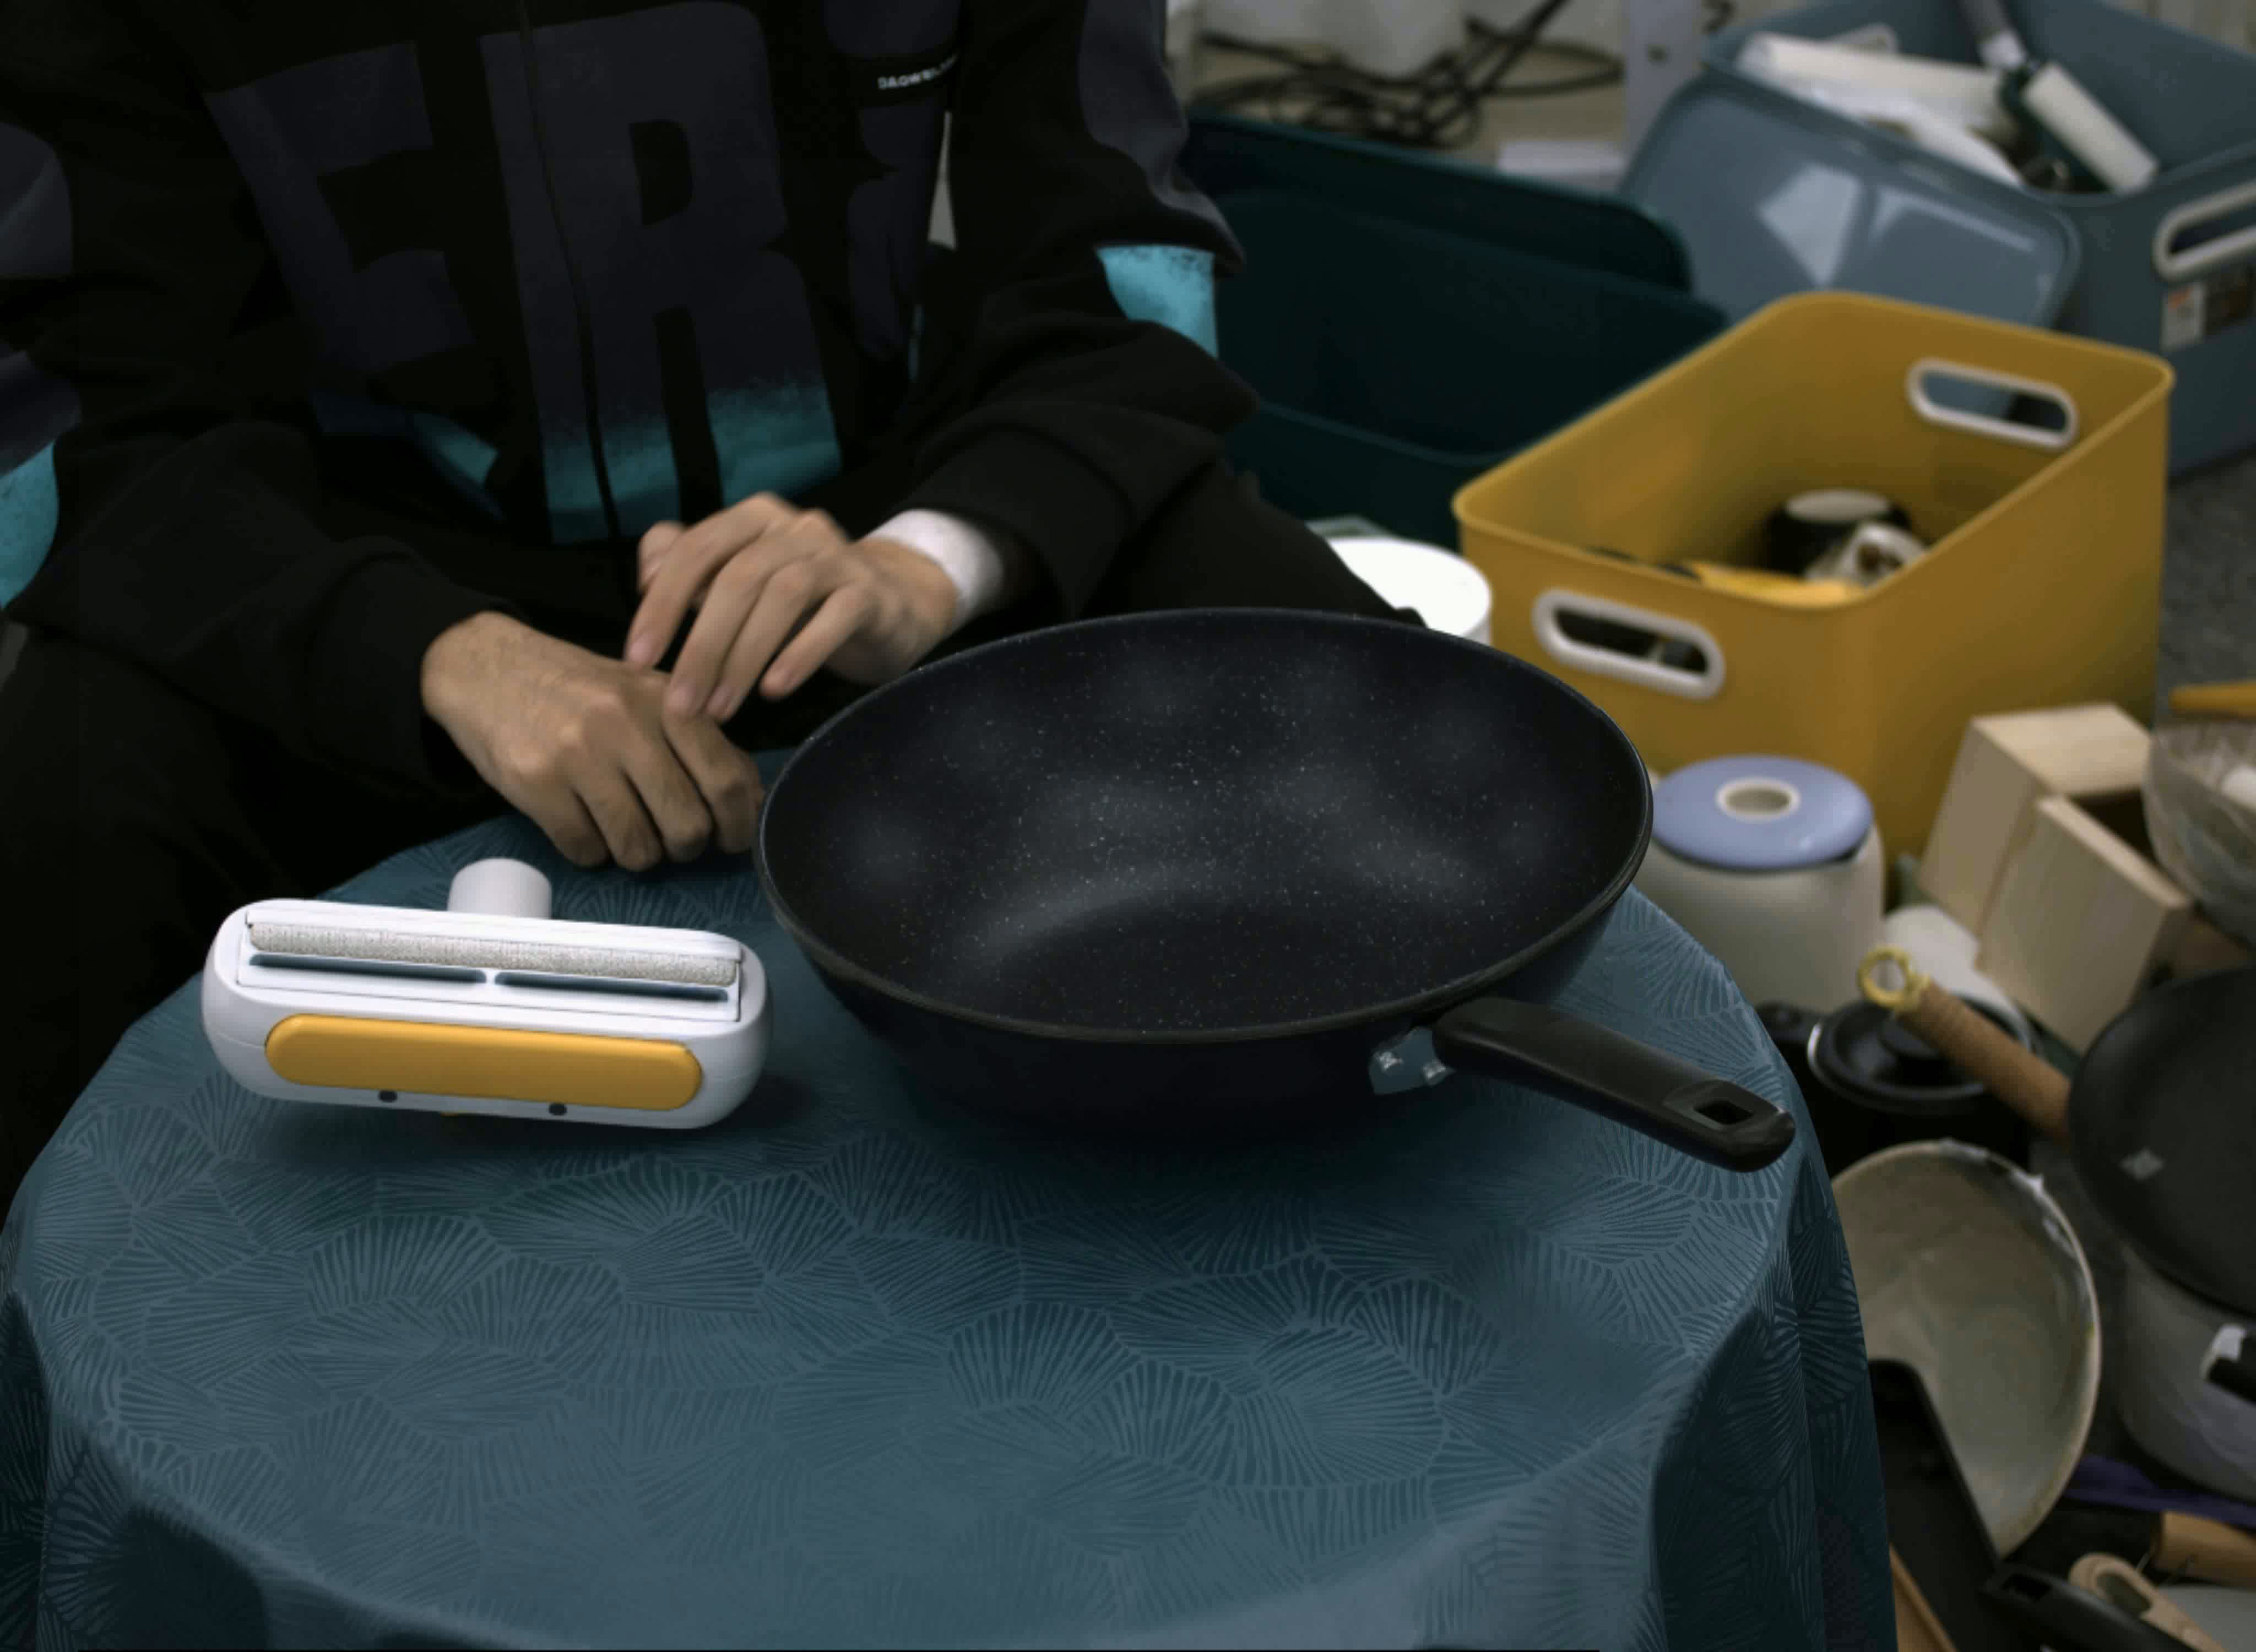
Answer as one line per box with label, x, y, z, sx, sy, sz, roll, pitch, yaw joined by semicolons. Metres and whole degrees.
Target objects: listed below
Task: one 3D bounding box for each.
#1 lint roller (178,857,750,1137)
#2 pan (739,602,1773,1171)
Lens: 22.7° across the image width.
lint roller;-0.224;0.045;1.957;0.192;0.073;0.195;2;26;-1
pan;0.065;0.050;1.876;0.312;0.110;0.478;-20;31;-26
